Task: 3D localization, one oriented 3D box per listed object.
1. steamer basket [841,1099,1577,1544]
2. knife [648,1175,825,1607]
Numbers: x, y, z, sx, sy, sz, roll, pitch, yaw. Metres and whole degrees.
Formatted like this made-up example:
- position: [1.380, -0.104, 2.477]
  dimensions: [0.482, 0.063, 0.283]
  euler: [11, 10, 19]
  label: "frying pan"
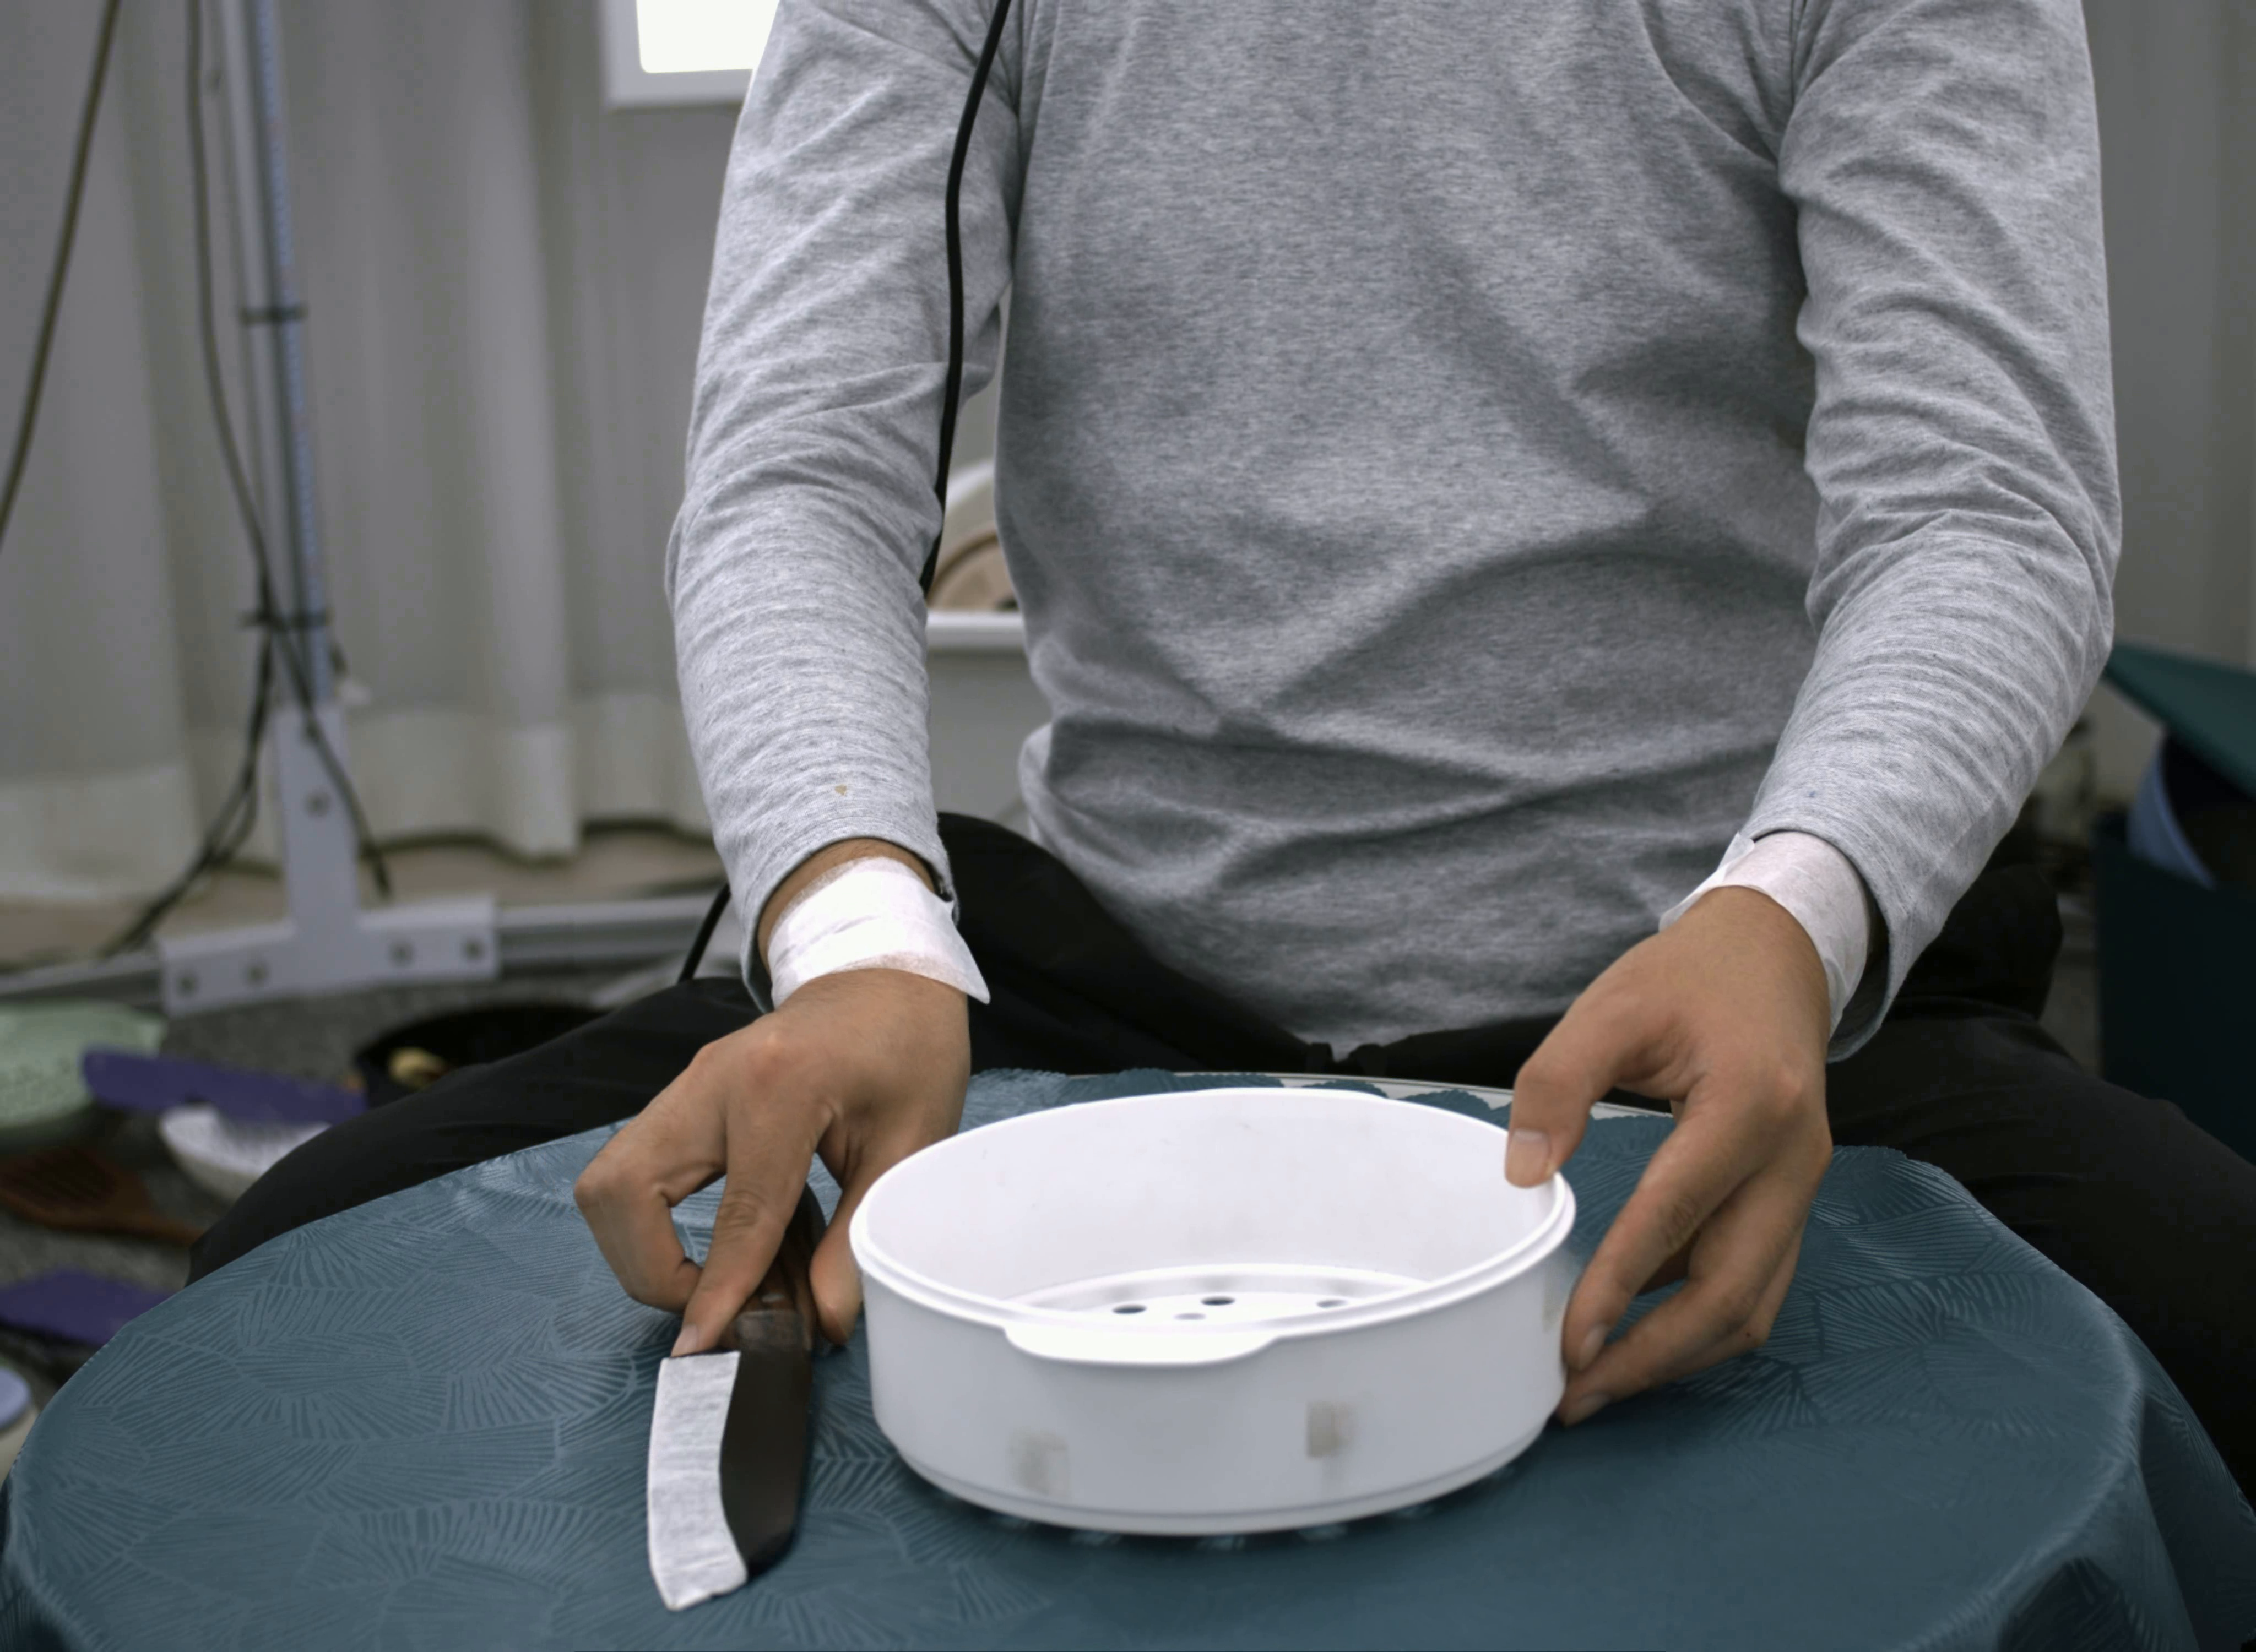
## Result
- position: [0.023, 0.136, 1.505]
  dimensions: [0.201, 0.069, 0.231]
  euler: [1, 14, 13]
  label: "steamer basket"
- position: [-0.109, 0.158, 1.544]
  dimensions: [0.050, 0.020, 0.291]
  euler: [-4, 17, 2]
  label: "knife"
